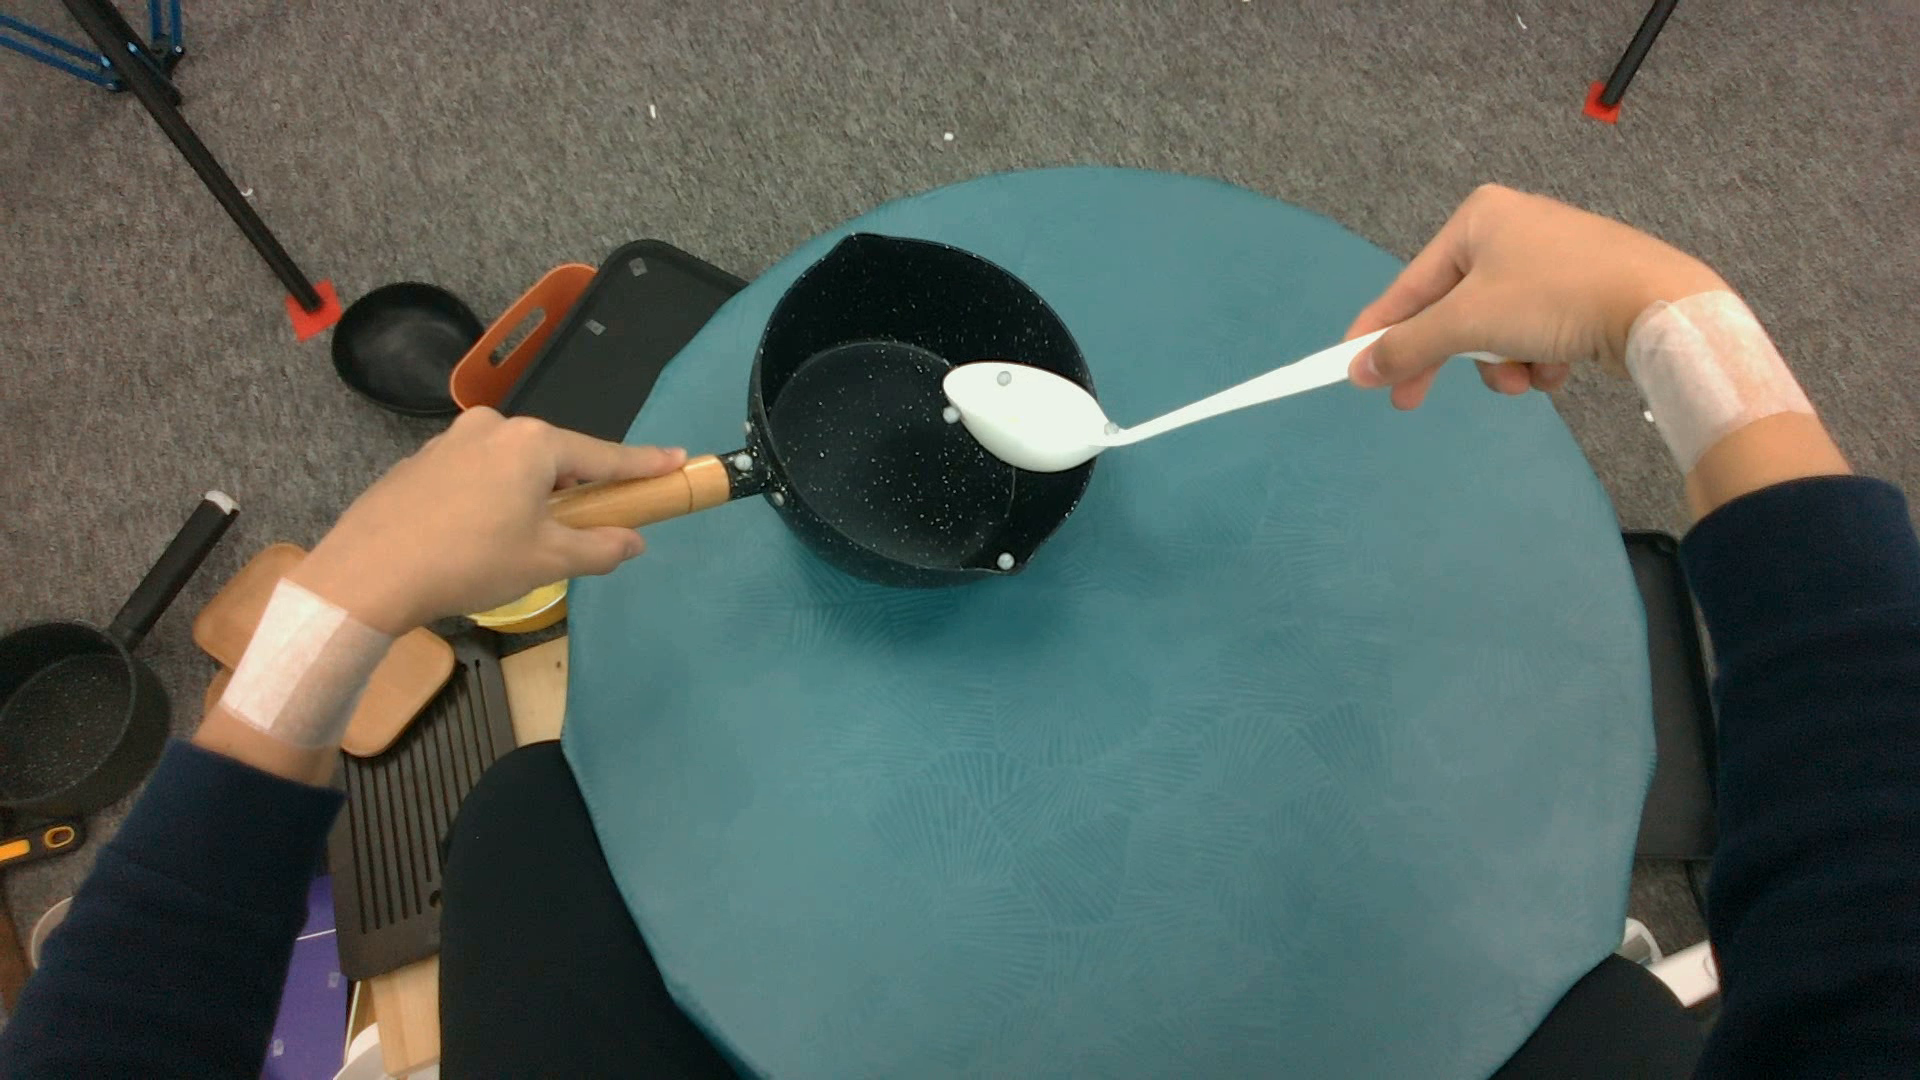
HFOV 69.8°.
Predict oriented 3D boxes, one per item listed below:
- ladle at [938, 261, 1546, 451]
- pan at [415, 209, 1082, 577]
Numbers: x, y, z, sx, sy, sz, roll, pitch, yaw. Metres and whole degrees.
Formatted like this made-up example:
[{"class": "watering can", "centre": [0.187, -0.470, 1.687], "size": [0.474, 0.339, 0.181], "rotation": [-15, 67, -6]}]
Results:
[{"class": "ladle", "centre": [0.119, -0.095, 0.652], "size": [0.292, 0.090, 0.070], "rotation": [-12, 90, 38]}, {"class": "pan", "centre": [-0.099, -0.043, 0.691], "size": [0.344, 0.108, 0.207], "rotation": [-23, 81, -27]}]
